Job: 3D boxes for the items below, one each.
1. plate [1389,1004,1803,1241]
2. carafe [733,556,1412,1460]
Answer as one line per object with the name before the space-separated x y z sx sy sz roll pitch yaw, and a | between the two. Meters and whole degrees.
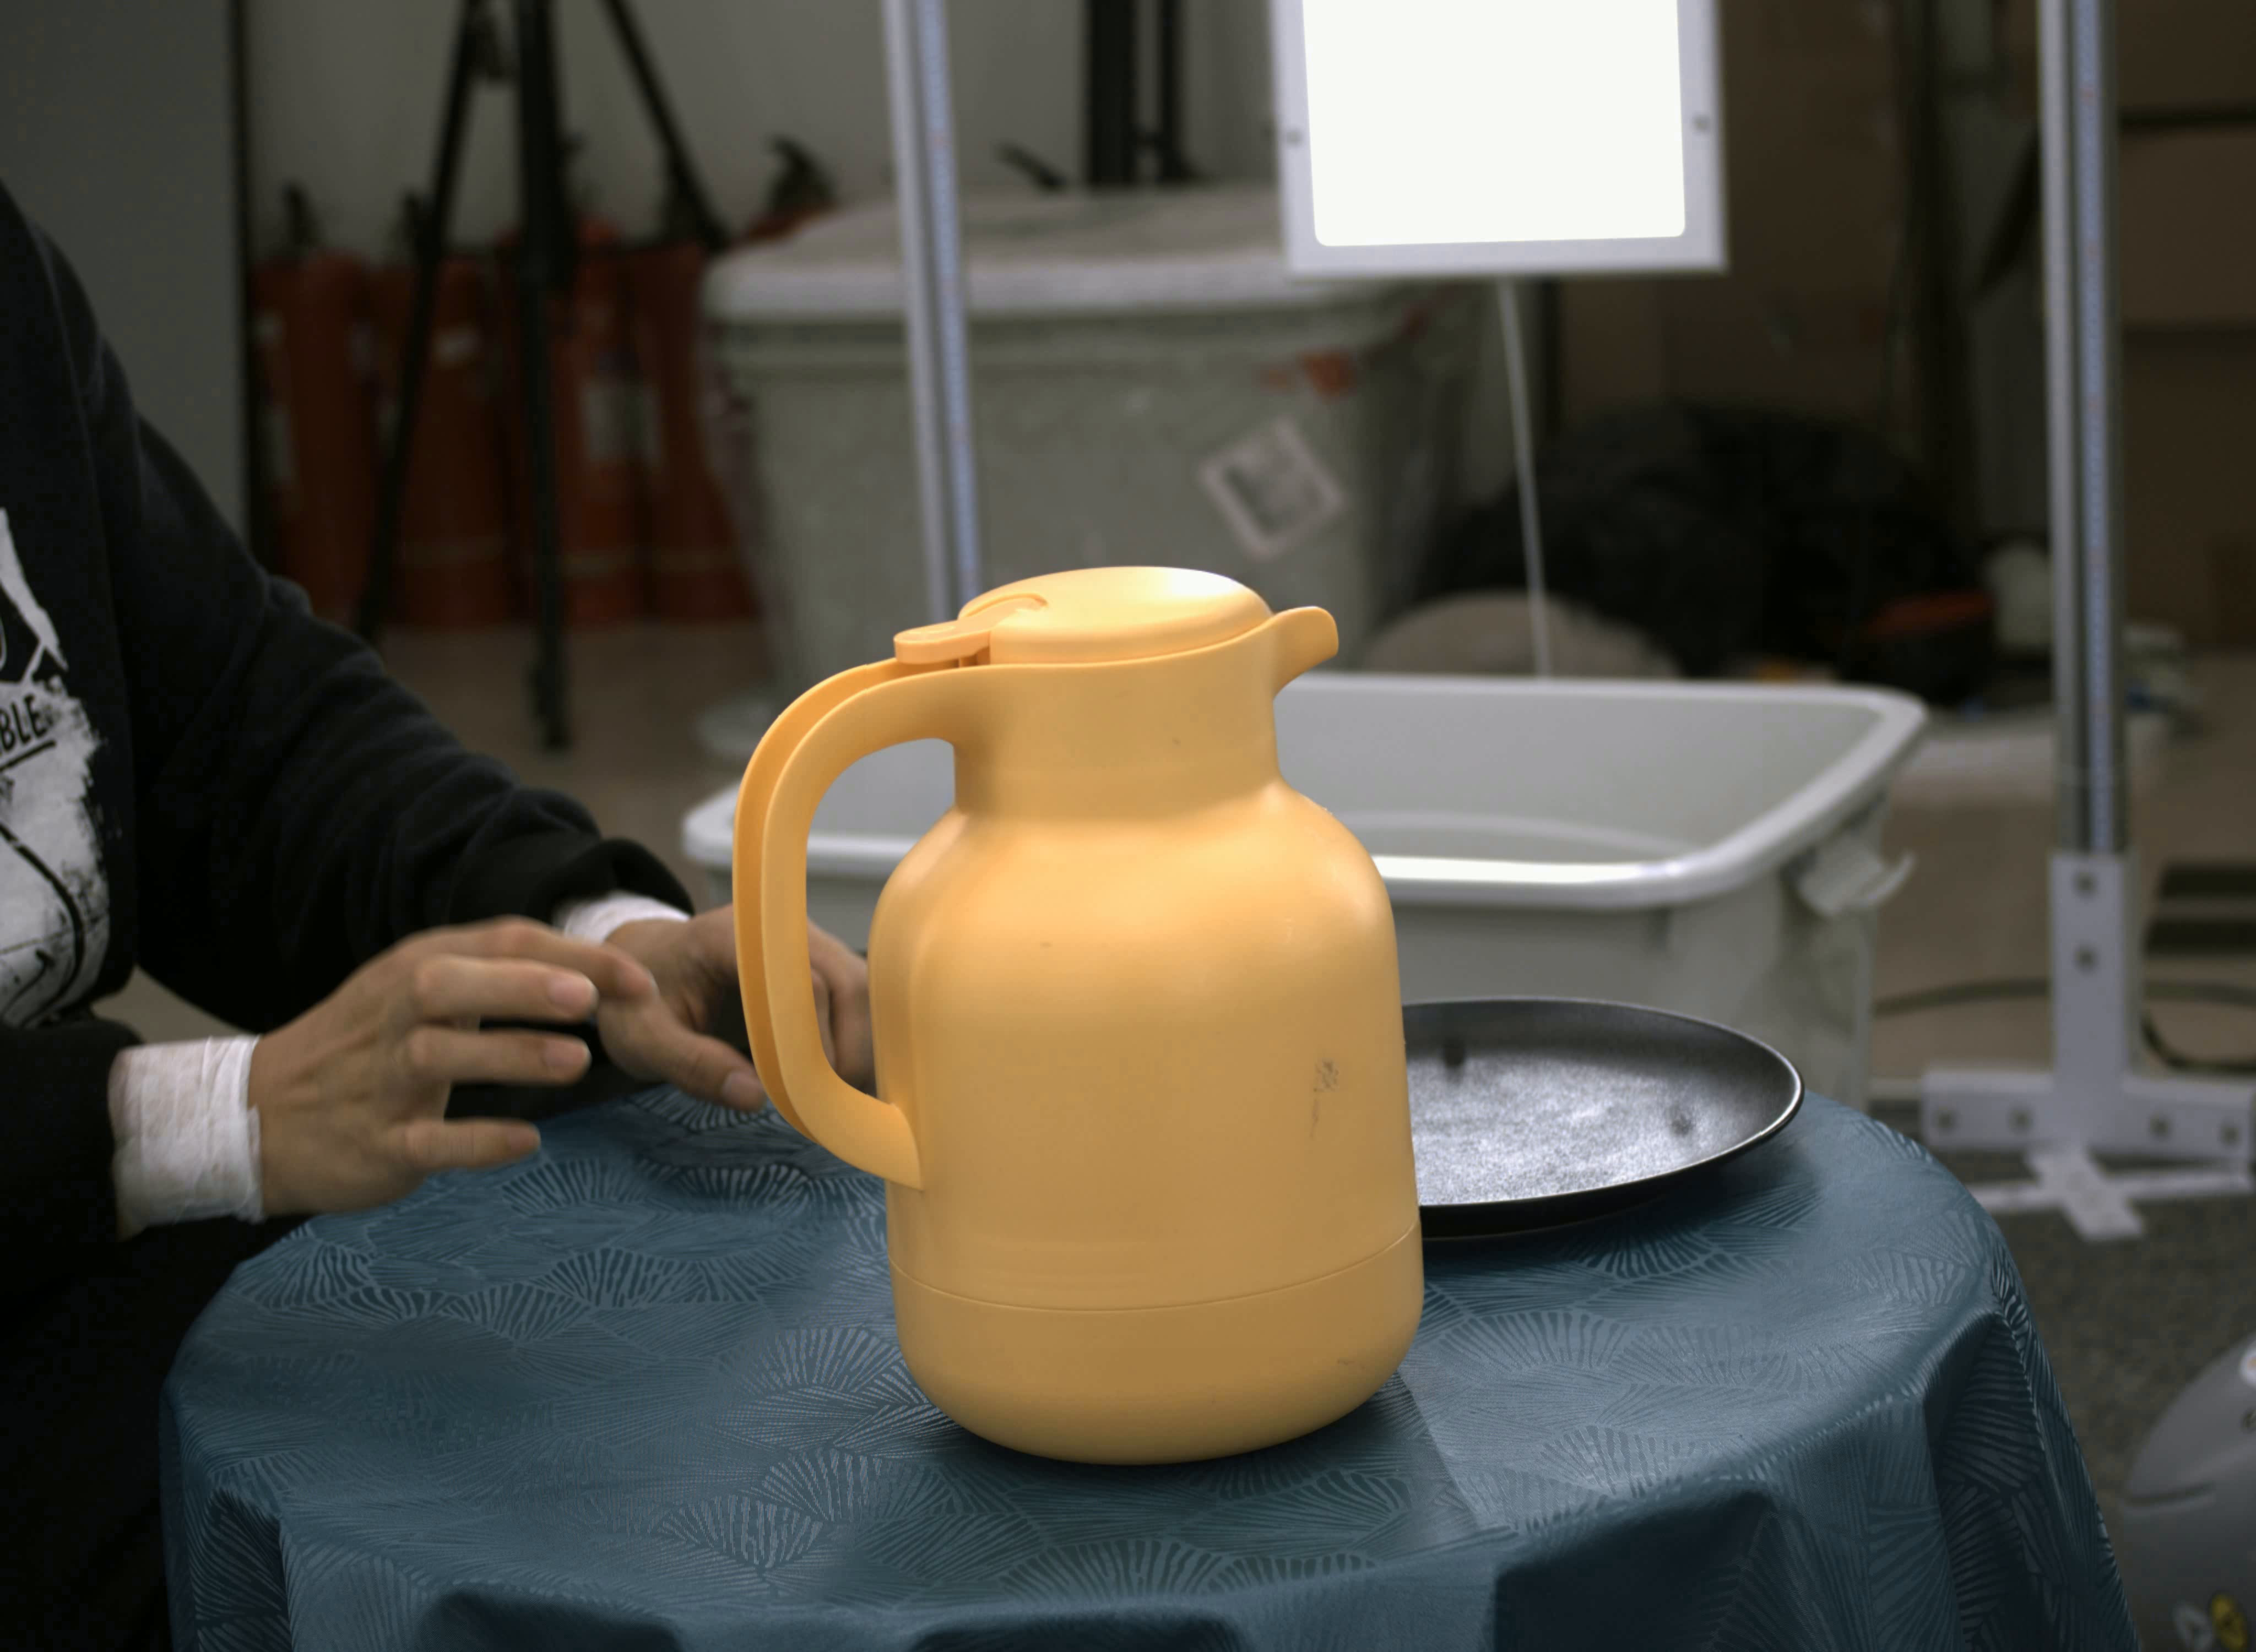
plate | 0.112 0.104 1.899 0.244 0.023 0.244 -5 14 0
carafe | -0.018 0.053 1.651 0.199 0.261 0.165 -7 11 -19
